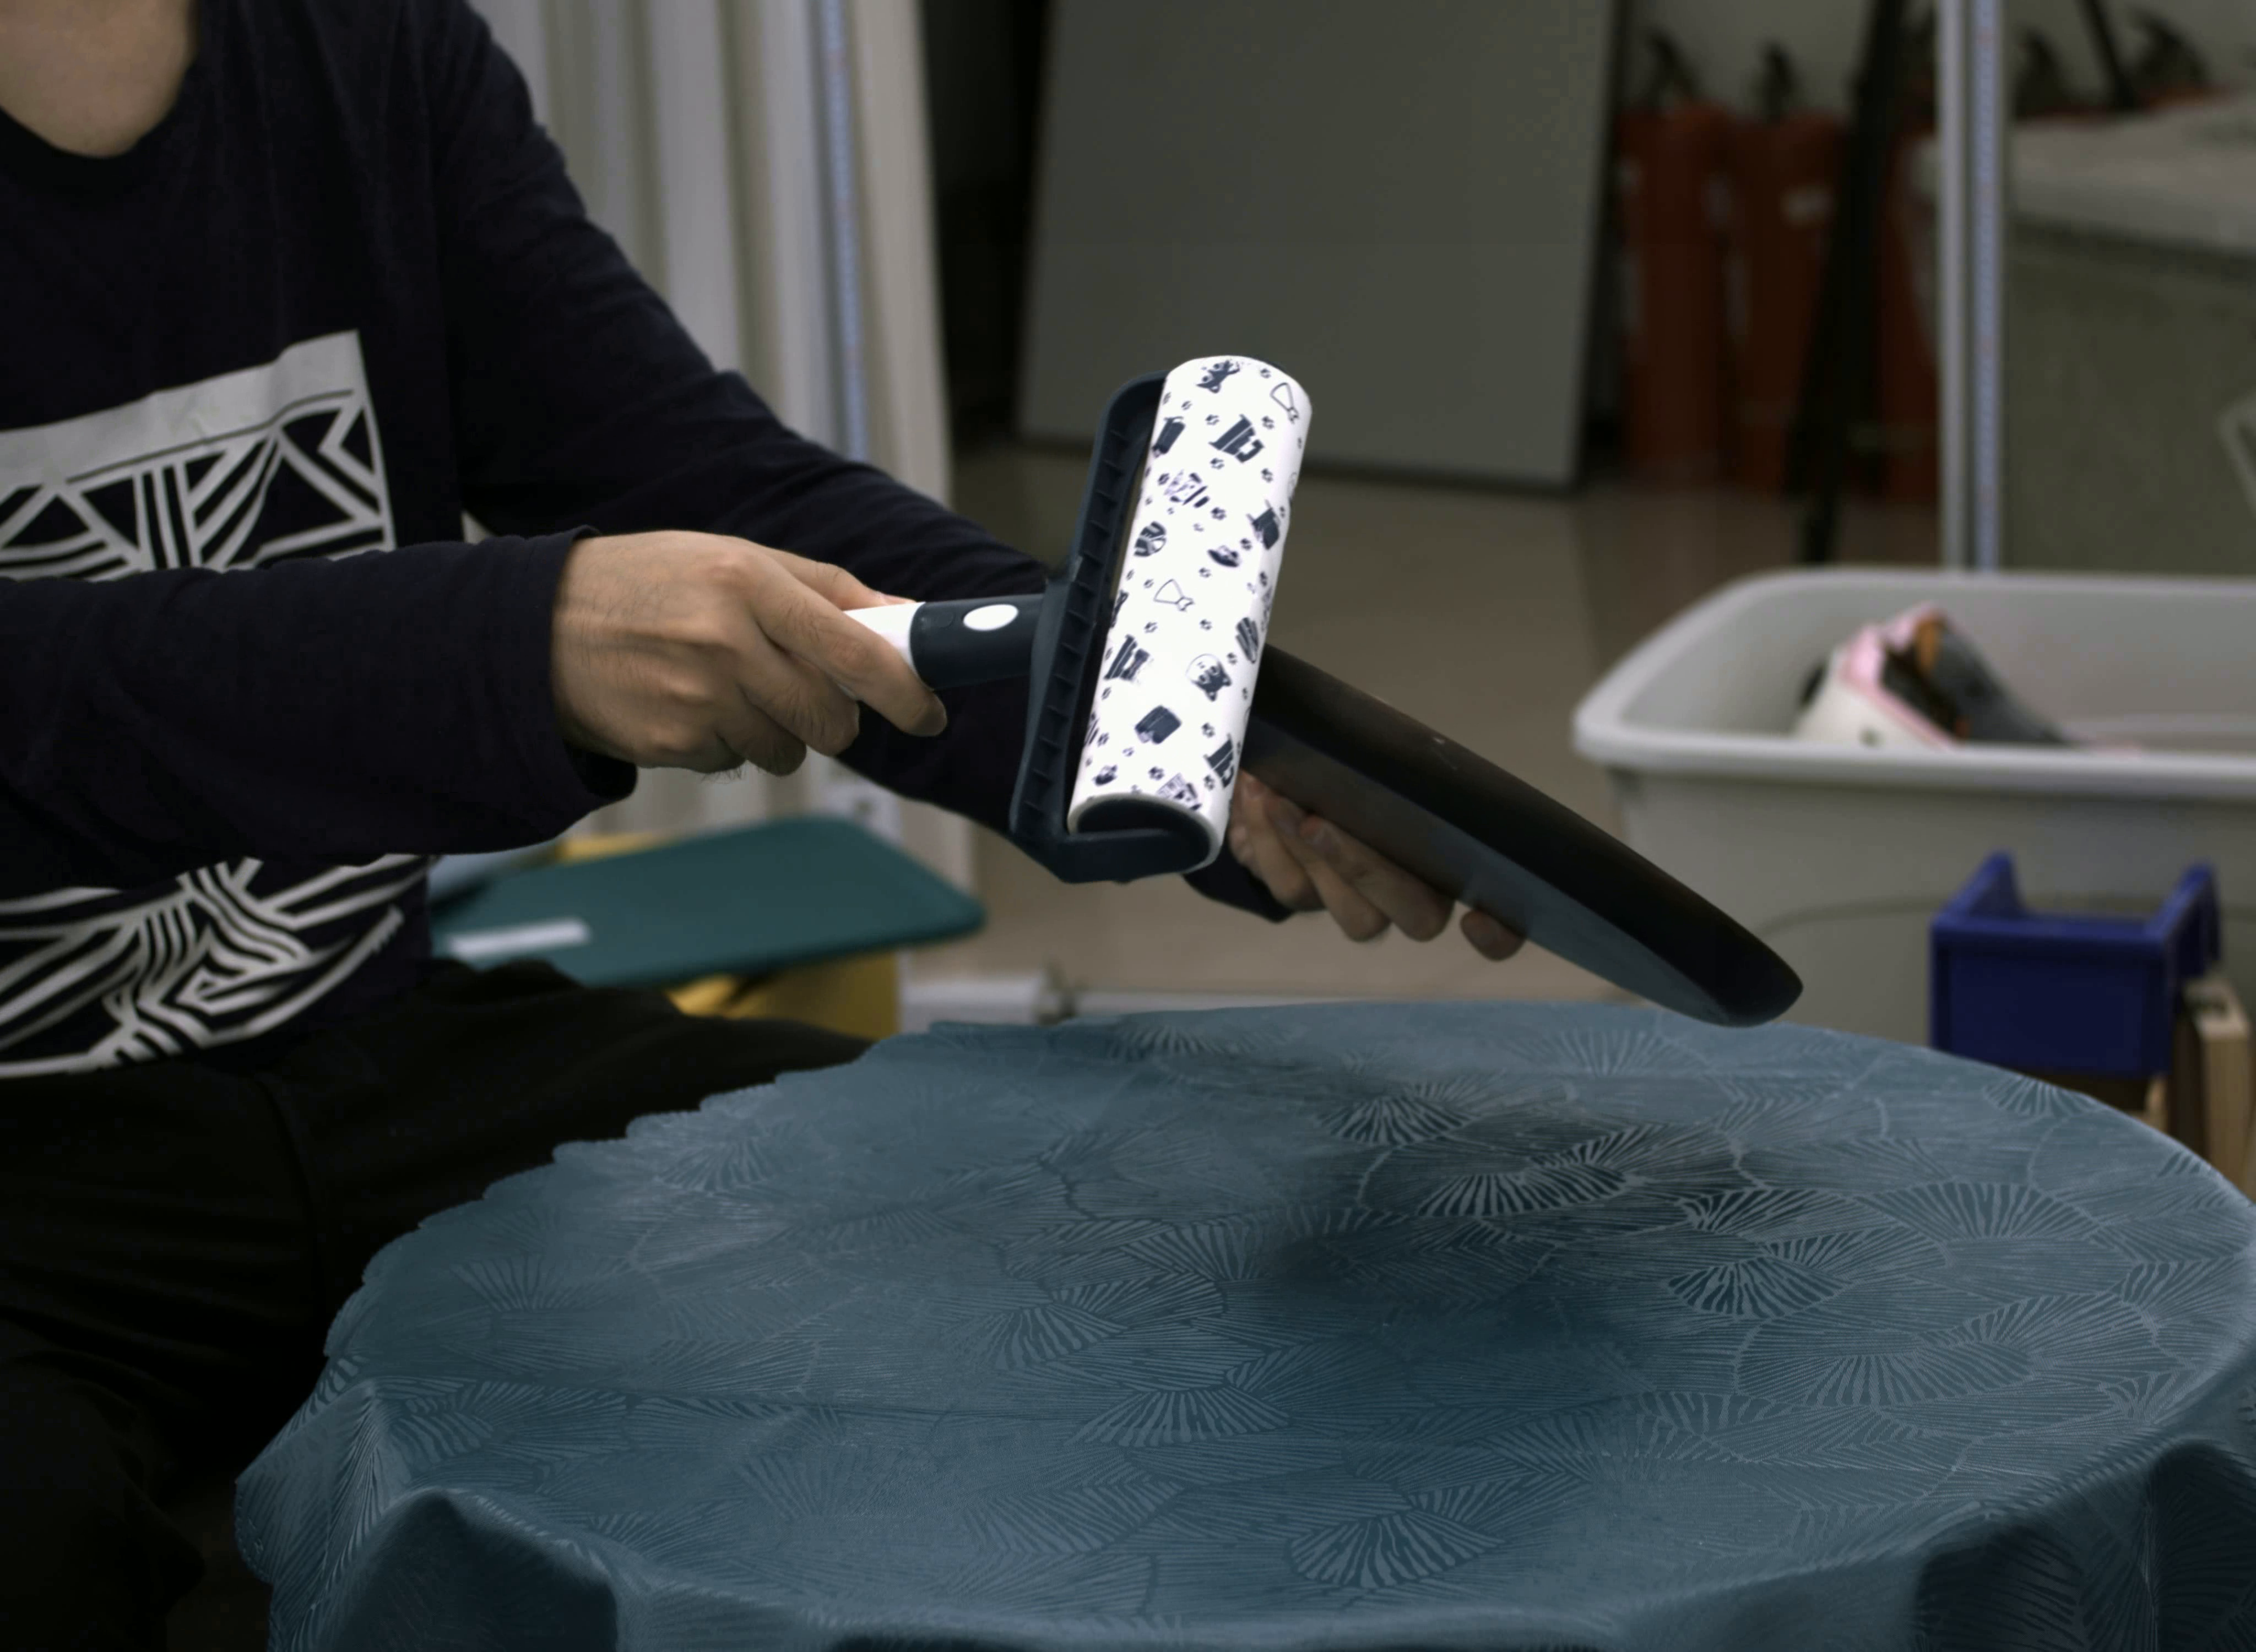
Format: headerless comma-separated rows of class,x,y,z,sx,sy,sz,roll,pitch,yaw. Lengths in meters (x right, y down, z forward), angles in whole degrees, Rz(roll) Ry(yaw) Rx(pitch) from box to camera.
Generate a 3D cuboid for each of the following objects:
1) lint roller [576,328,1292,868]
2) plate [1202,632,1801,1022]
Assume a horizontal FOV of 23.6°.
lint roller,-0.071,-0.058,1.664,0.248,0.177,0.050,-8,-35,29
plate,0.100,-0.003,1.720,0.253,0.029,0.255,30,-6,2
